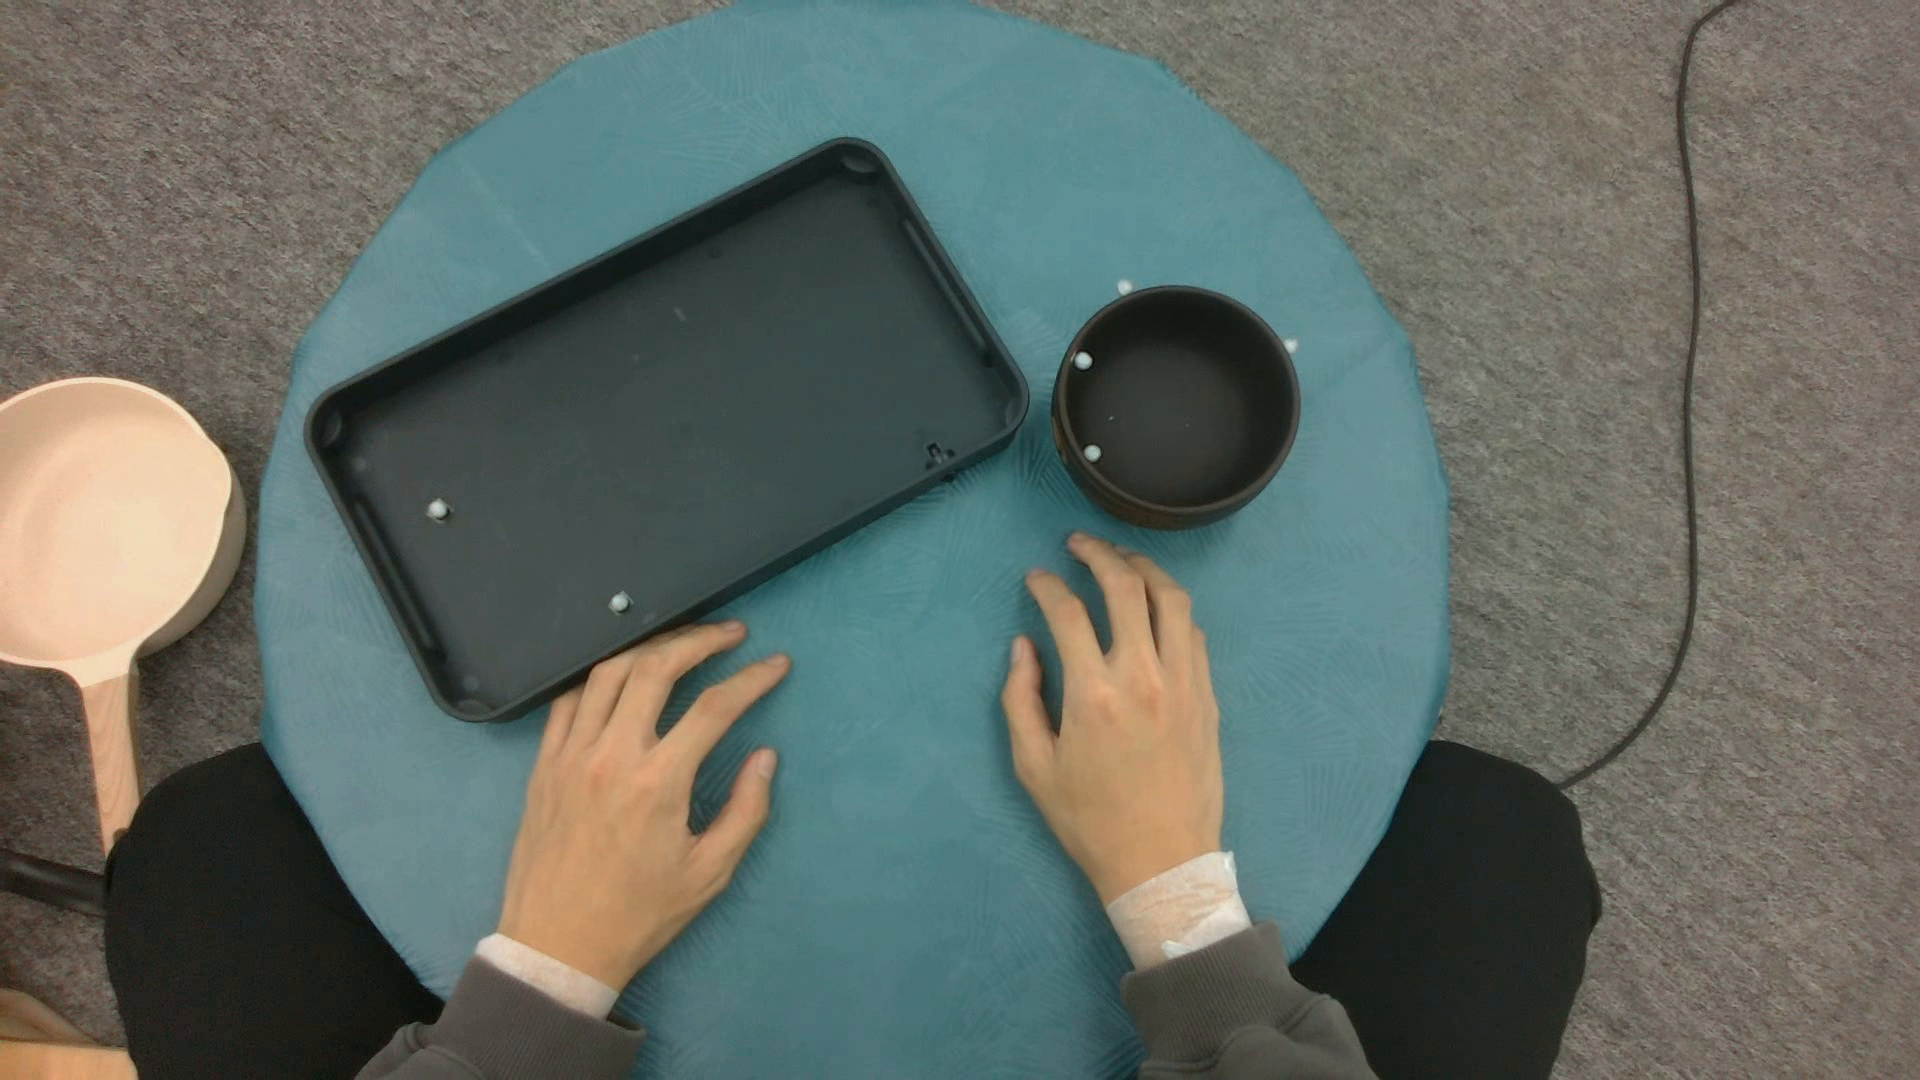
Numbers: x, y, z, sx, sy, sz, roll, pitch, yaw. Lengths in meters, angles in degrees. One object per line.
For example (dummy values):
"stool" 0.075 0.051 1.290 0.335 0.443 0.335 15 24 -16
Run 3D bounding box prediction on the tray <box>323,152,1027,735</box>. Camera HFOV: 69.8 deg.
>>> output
"tray" -0.140 -0.053 0.702 0.318 0.037 0.184 -31 79 -9

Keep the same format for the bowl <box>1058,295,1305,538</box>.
"bowl" 0.107 -0.057 0.691 0.118 0.069 0.118 0 77 -2
